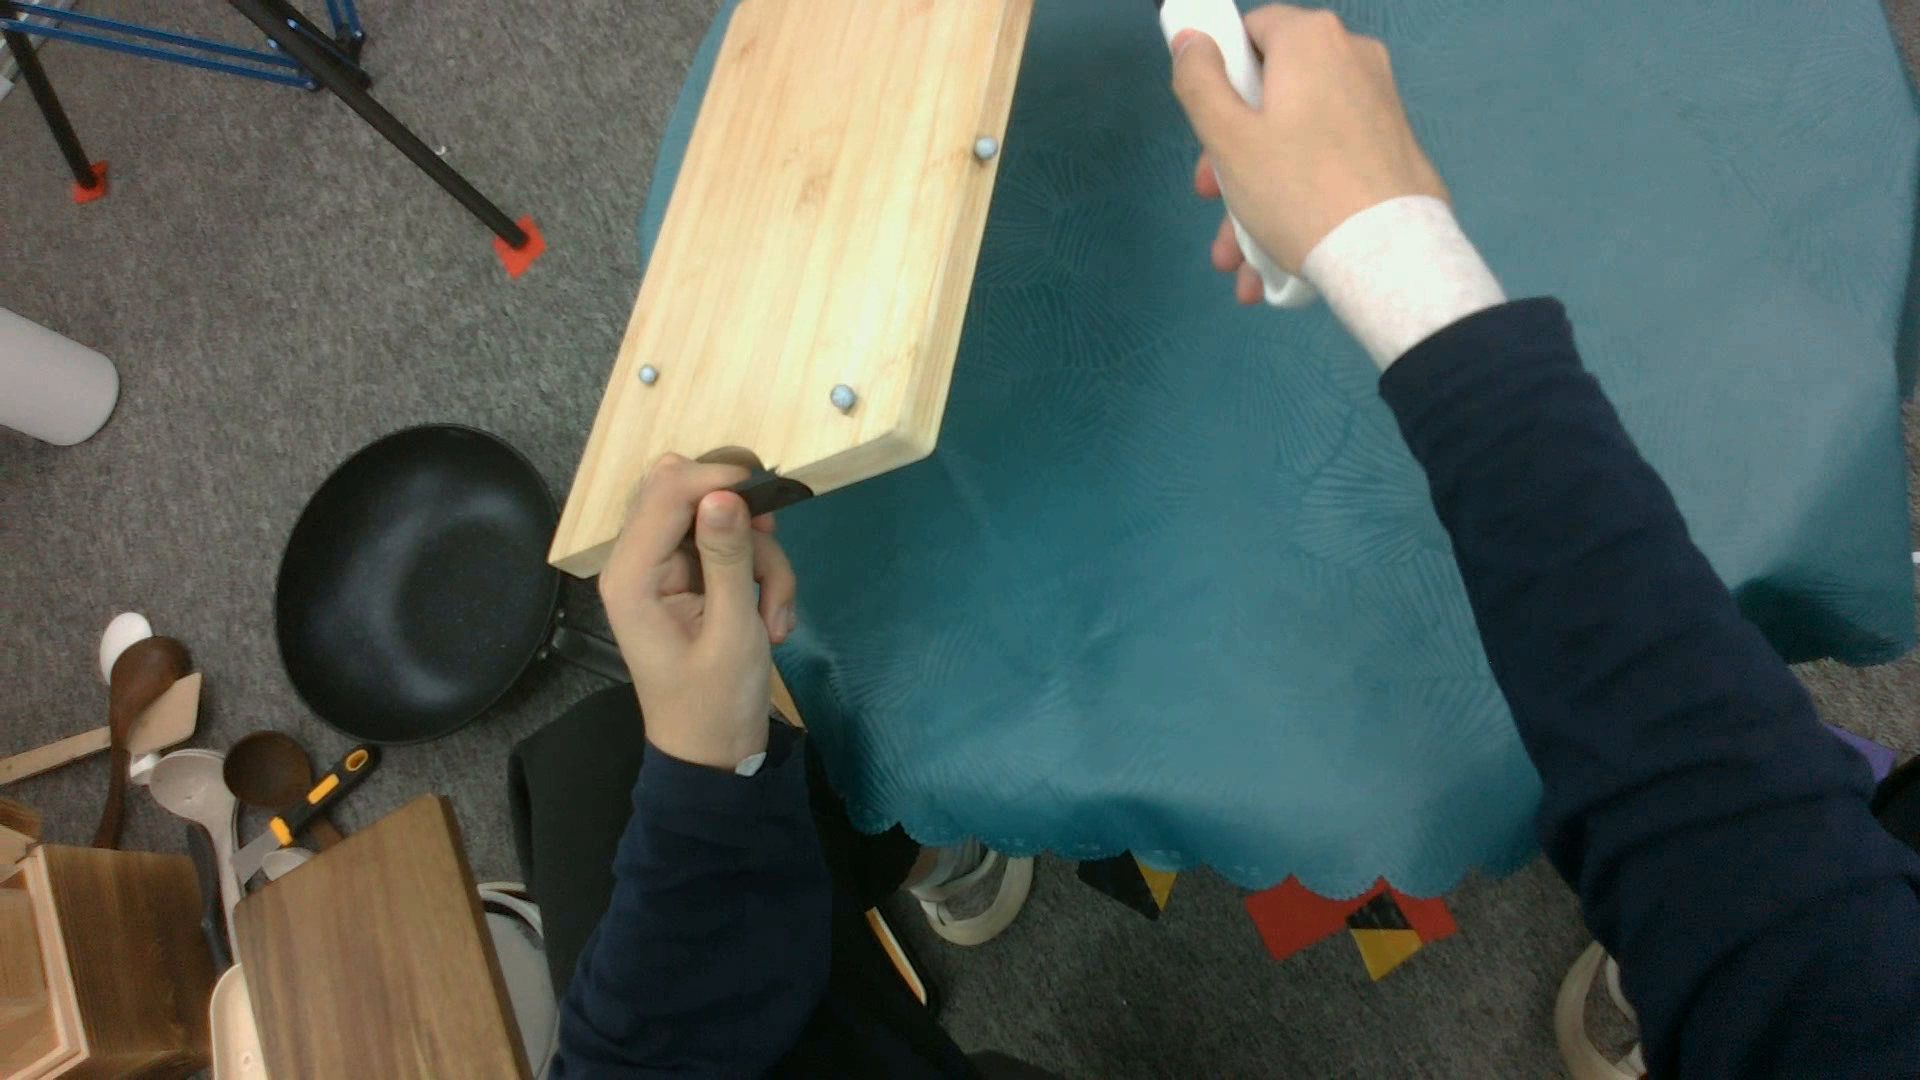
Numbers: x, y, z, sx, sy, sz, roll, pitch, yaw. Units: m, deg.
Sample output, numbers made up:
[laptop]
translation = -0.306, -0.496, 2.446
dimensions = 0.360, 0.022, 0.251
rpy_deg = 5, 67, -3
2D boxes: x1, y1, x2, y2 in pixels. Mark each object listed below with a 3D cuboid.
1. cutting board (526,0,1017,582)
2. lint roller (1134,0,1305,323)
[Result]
[cutting board]
translation = -0.071, -0.159, 0.602
dimensions = 0.249, 0.023, 0.350
rpy_deg = -17, 53, 44
[lint roller]
translation = 0.089, -0.195, 0.529
dimensions = 0.050, 0.176, 0.247
rpy_deg = -34, 62, 37
